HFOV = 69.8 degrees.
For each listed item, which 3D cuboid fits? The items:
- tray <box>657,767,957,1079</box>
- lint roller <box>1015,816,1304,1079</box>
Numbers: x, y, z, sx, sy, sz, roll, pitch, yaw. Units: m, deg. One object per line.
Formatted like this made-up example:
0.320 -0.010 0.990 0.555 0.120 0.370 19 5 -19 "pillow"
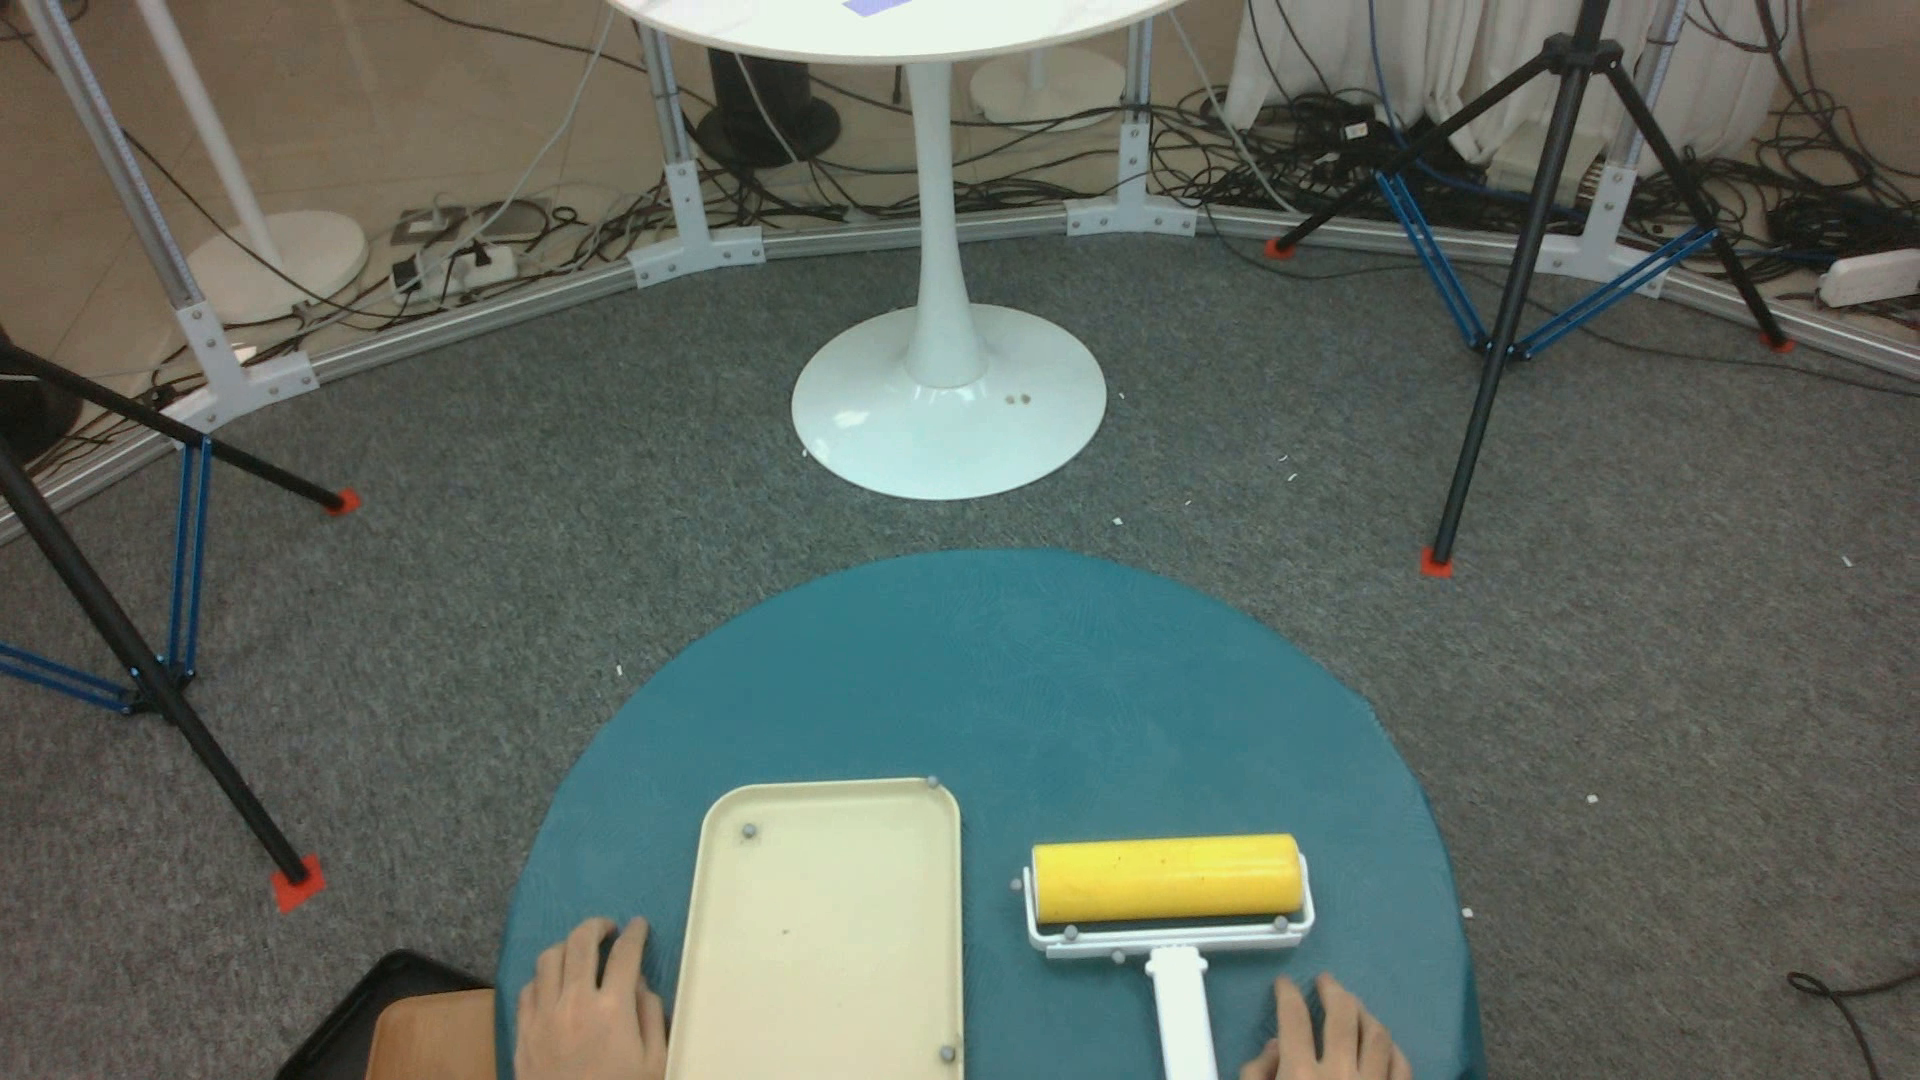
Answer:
-0.089 0.243 0.840 0.171 0.017 0.241 -3 44 1 "tray"
0.126 0.251 0.801 0.174 0.051 0.193 -5 41 -1 "lint roller"
